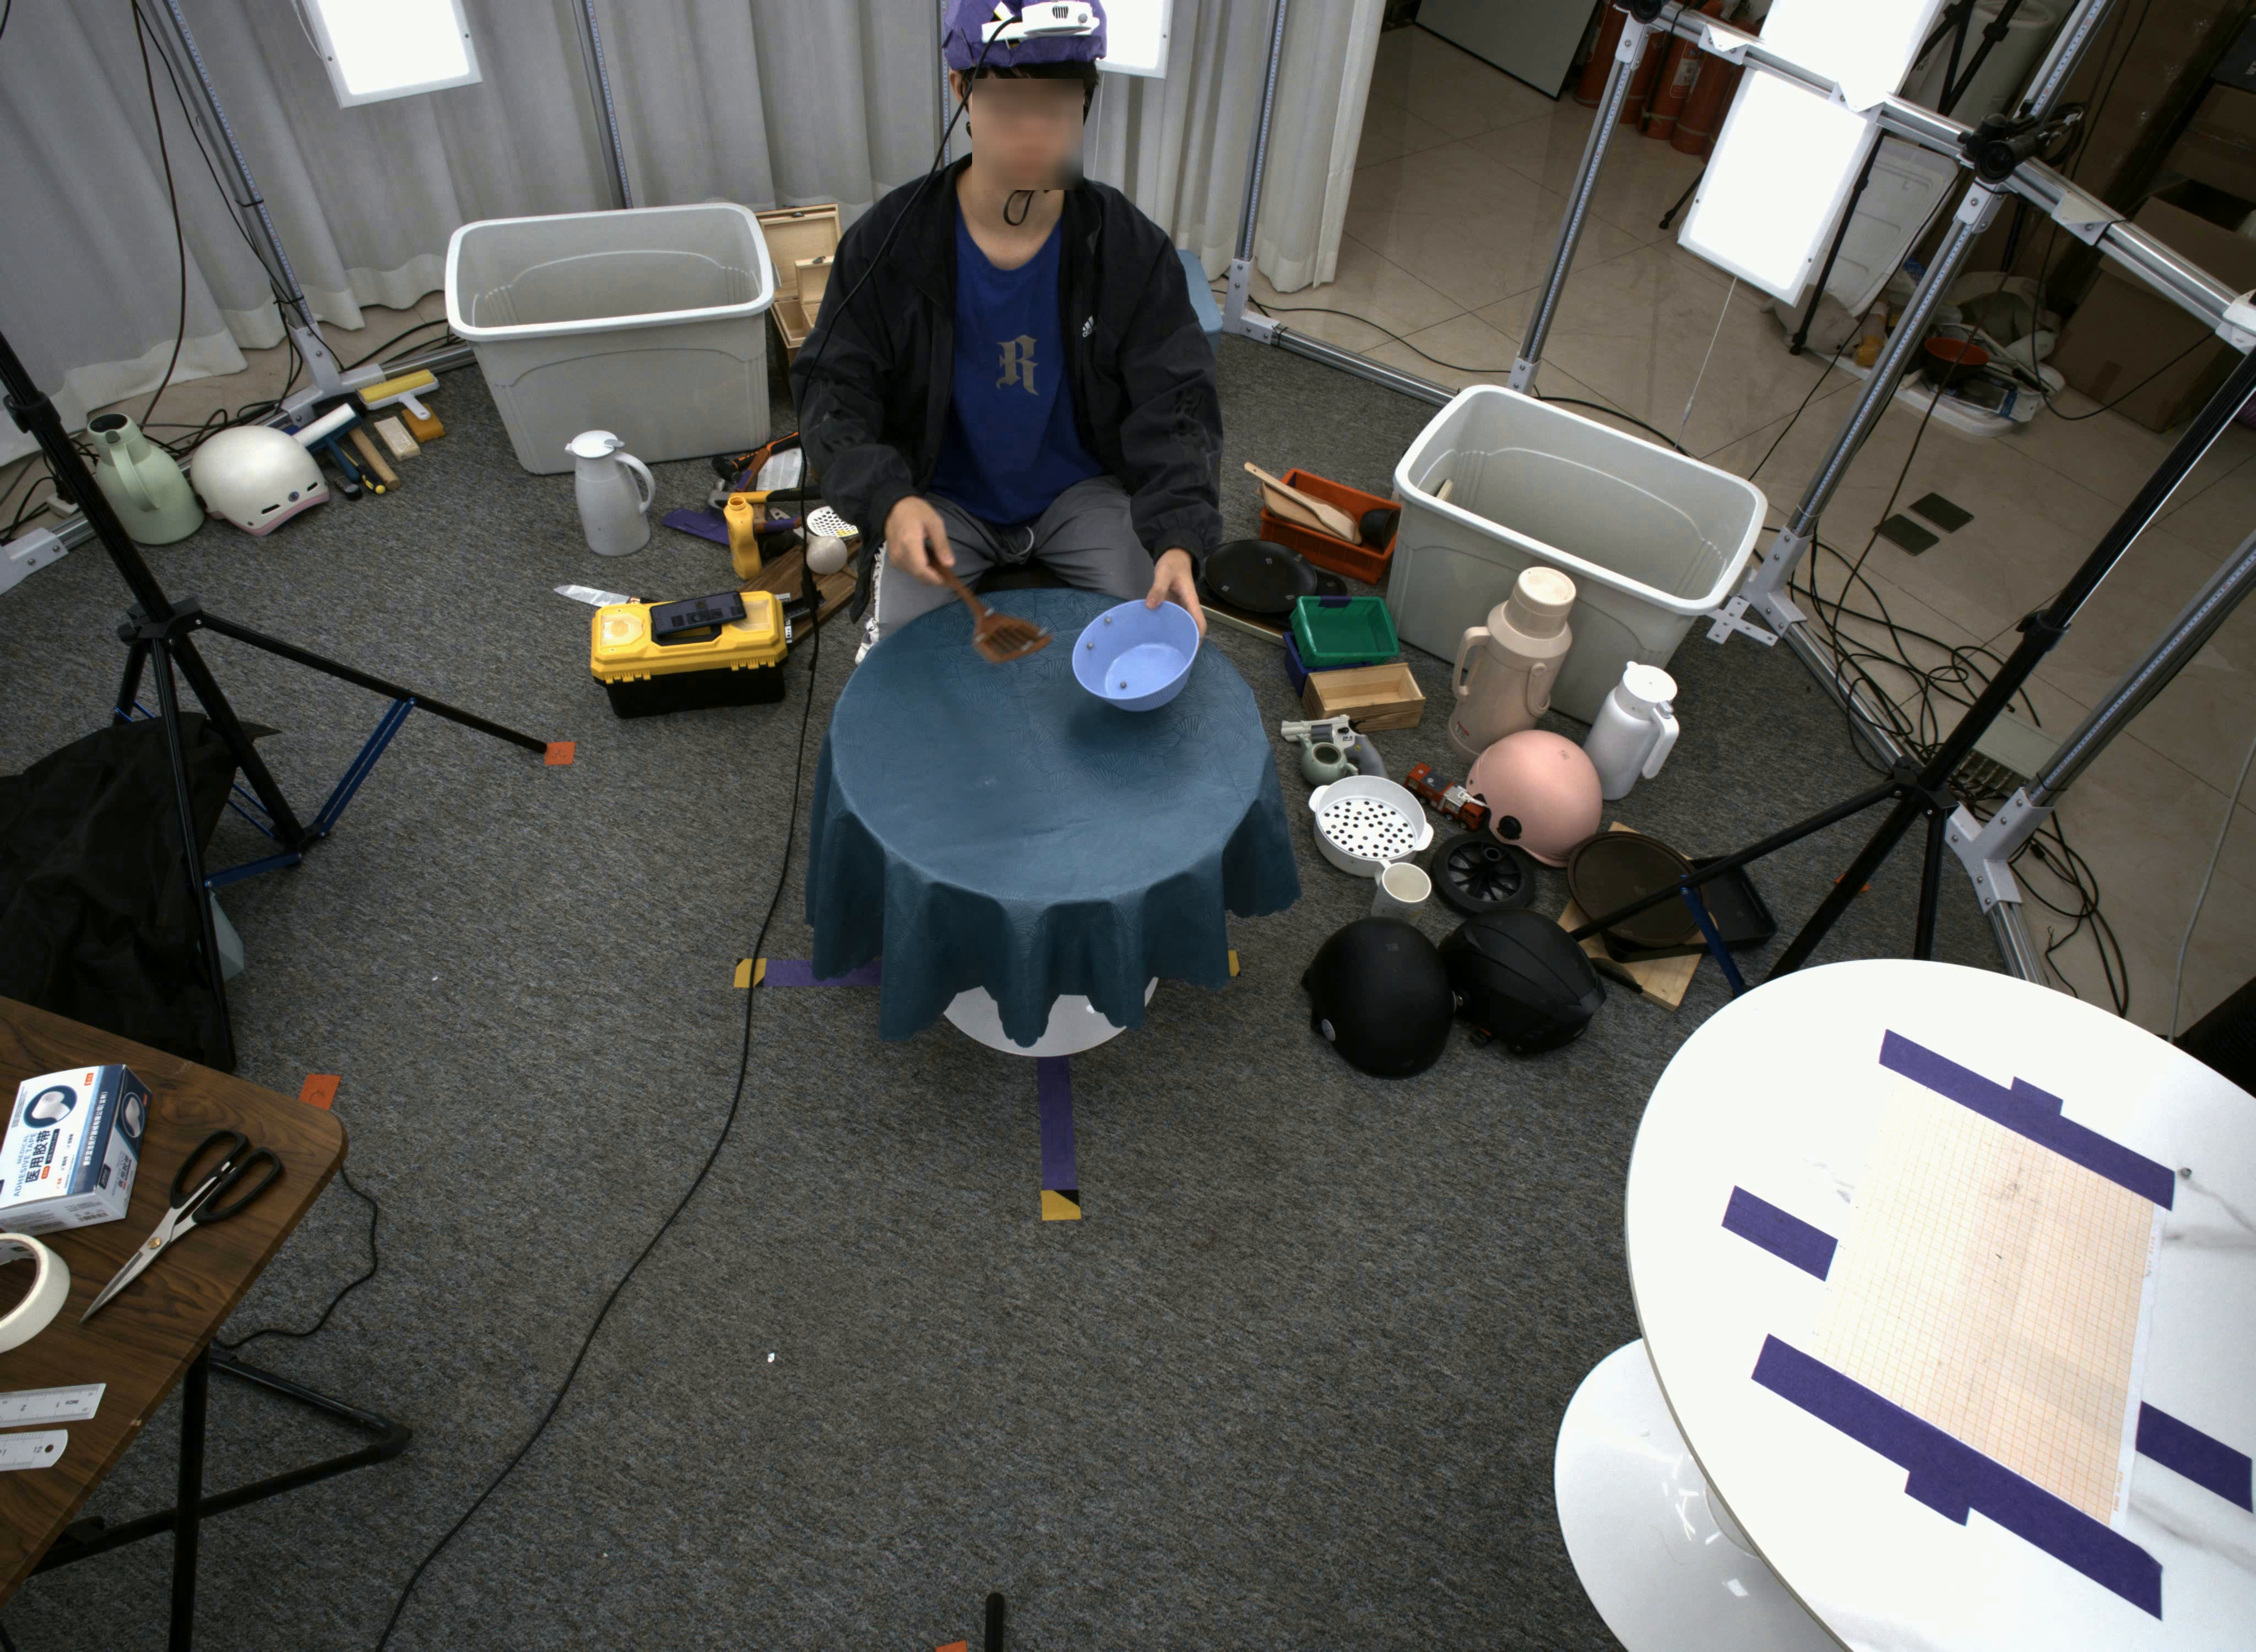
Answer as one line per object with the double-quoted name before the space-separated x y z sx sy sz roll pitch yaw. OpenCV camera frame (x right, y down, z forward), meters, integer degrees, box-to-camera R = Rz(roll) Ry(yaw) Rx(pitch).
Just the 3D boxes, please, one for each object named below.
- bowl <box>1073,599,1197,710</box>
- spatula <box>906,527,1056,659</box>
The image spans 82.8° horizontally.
"bowl" 0.017 -0.224 1.756 0.176 0.068 0.180 -10 52 13
"spatula" -0.214 -0.317 1.724 0.086 0.023 0.395 -24 44 -19
